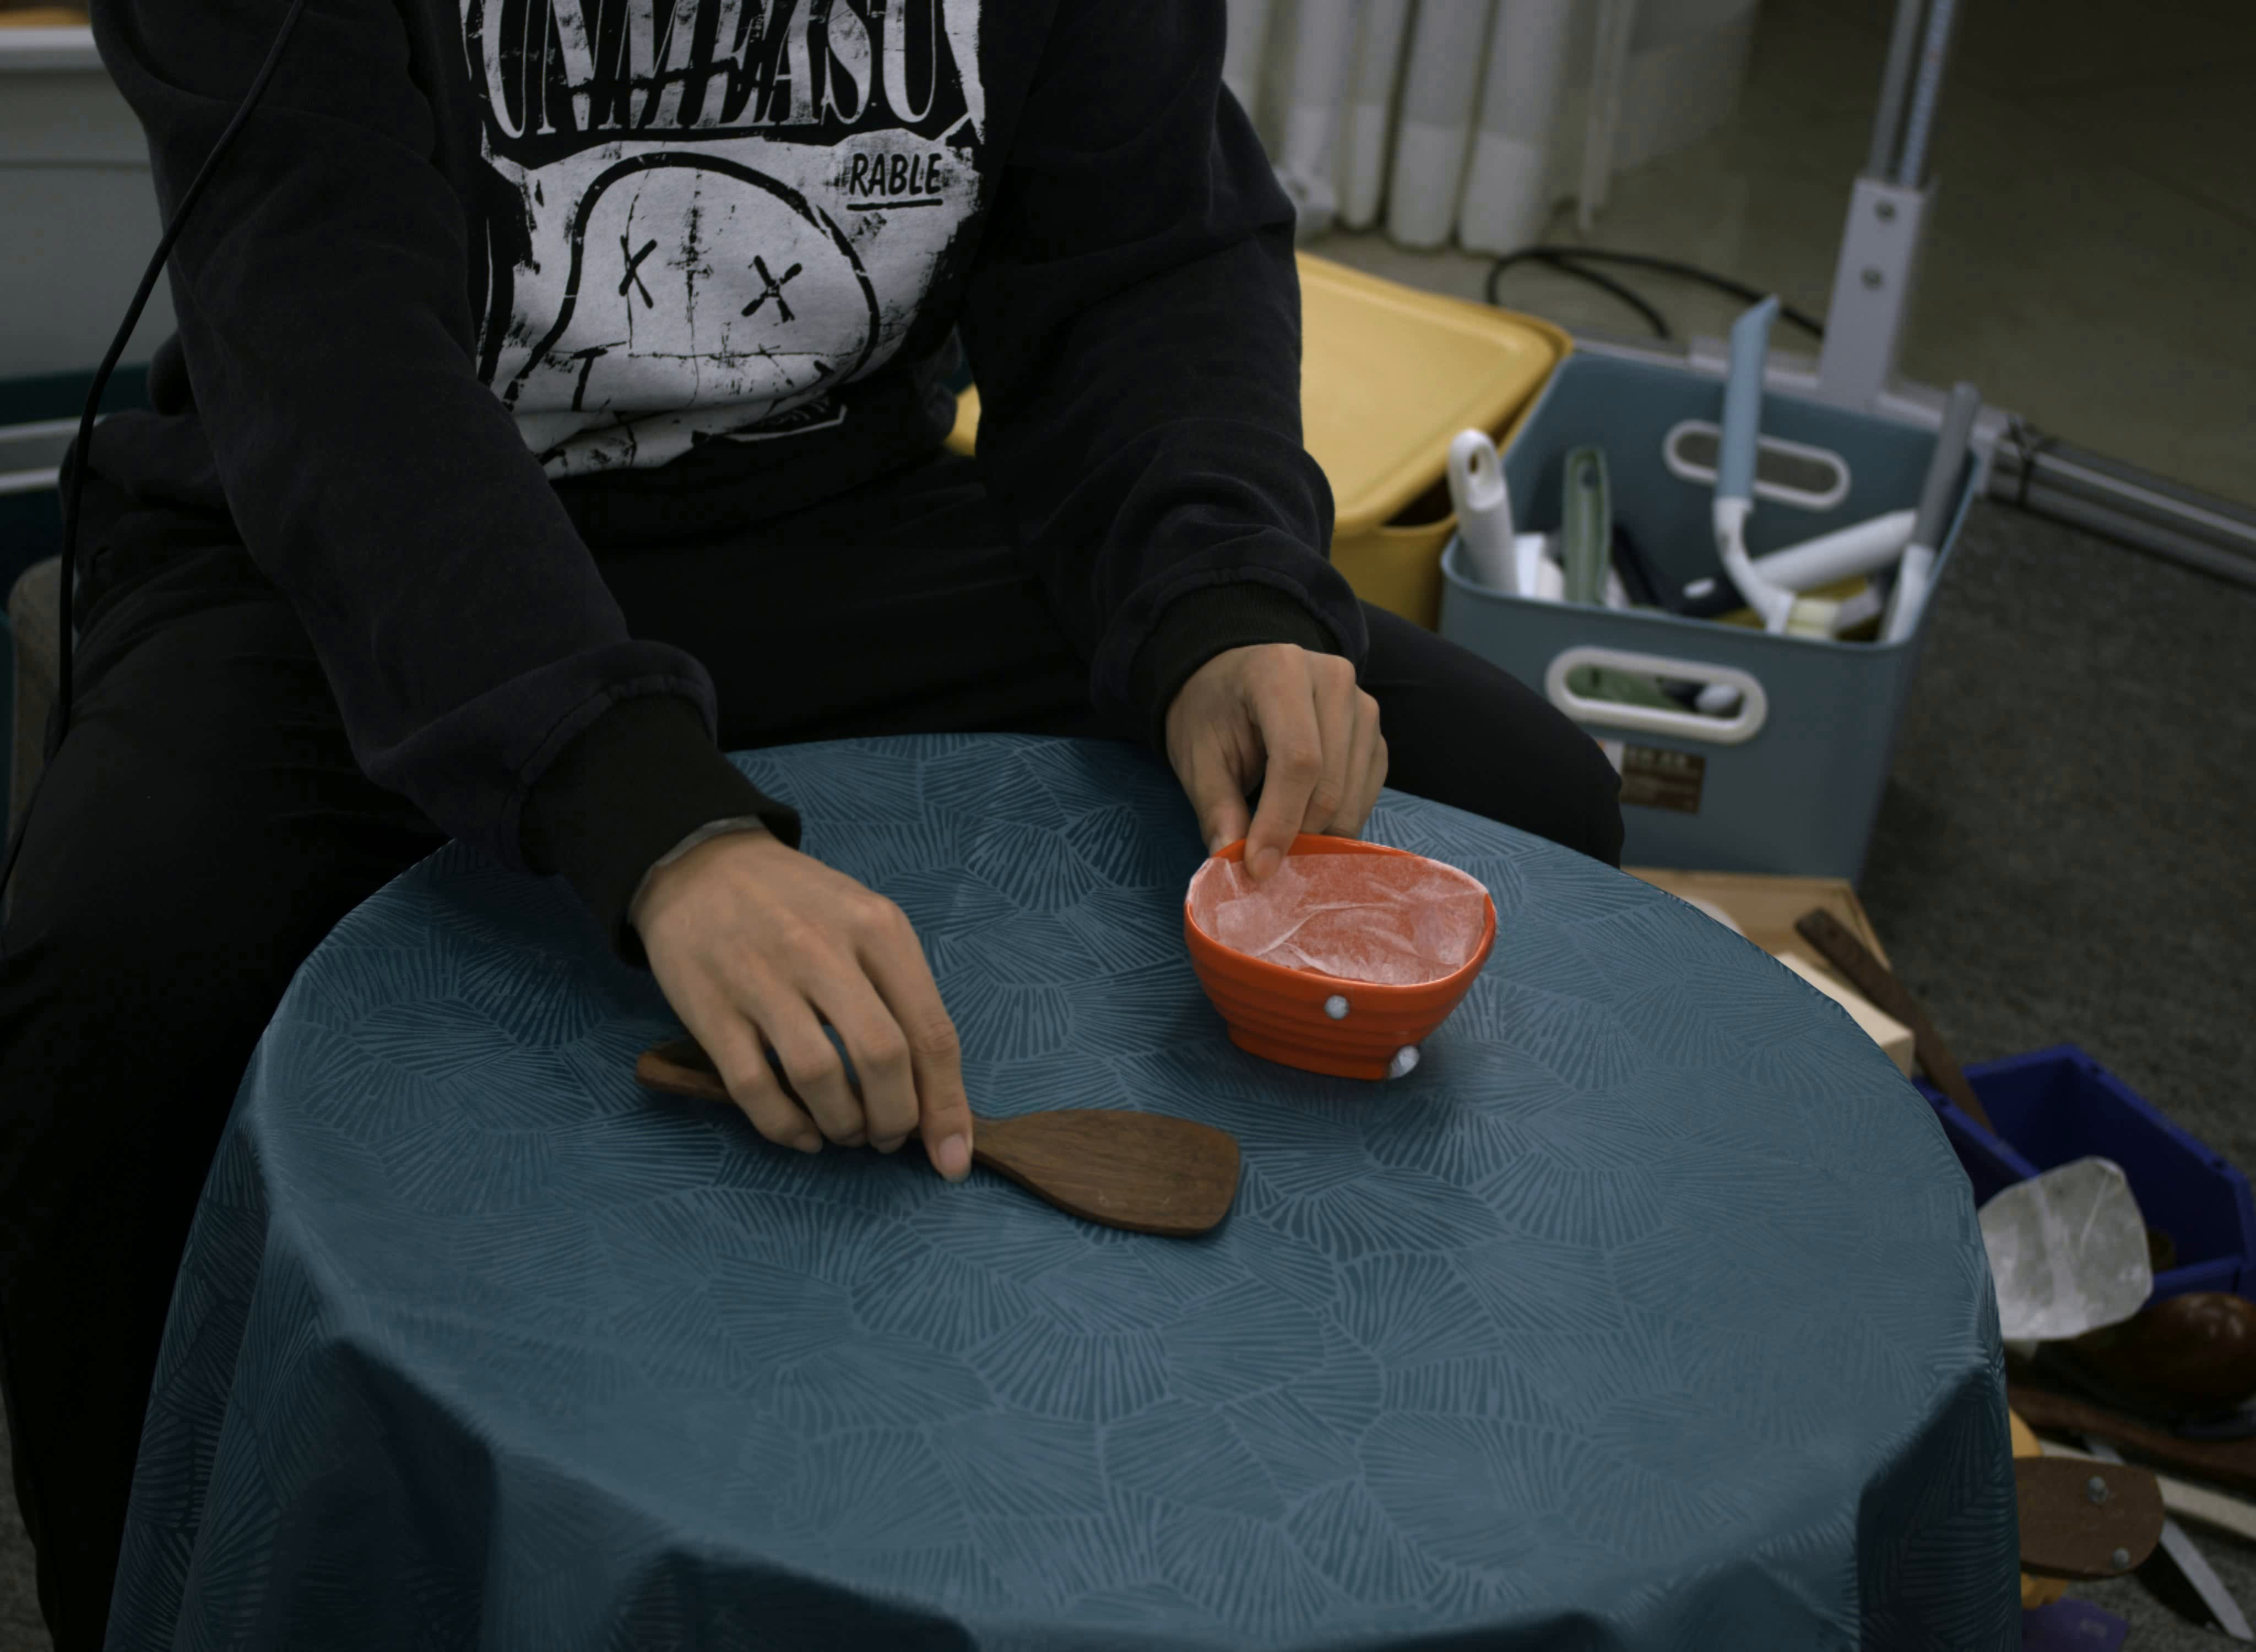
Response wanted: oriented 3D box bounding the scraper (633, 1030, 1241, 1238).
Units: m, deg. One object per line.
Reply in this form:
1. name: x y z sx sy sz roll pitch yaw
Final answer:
1. scraper: -0.065 0.100 1.809 0.211 0.011 0.076 14 26 3

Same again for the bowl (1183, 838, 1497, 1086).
1. bowl: 0.074 0.053 1.906 0.118 0.051 0.119 4 28 -2
